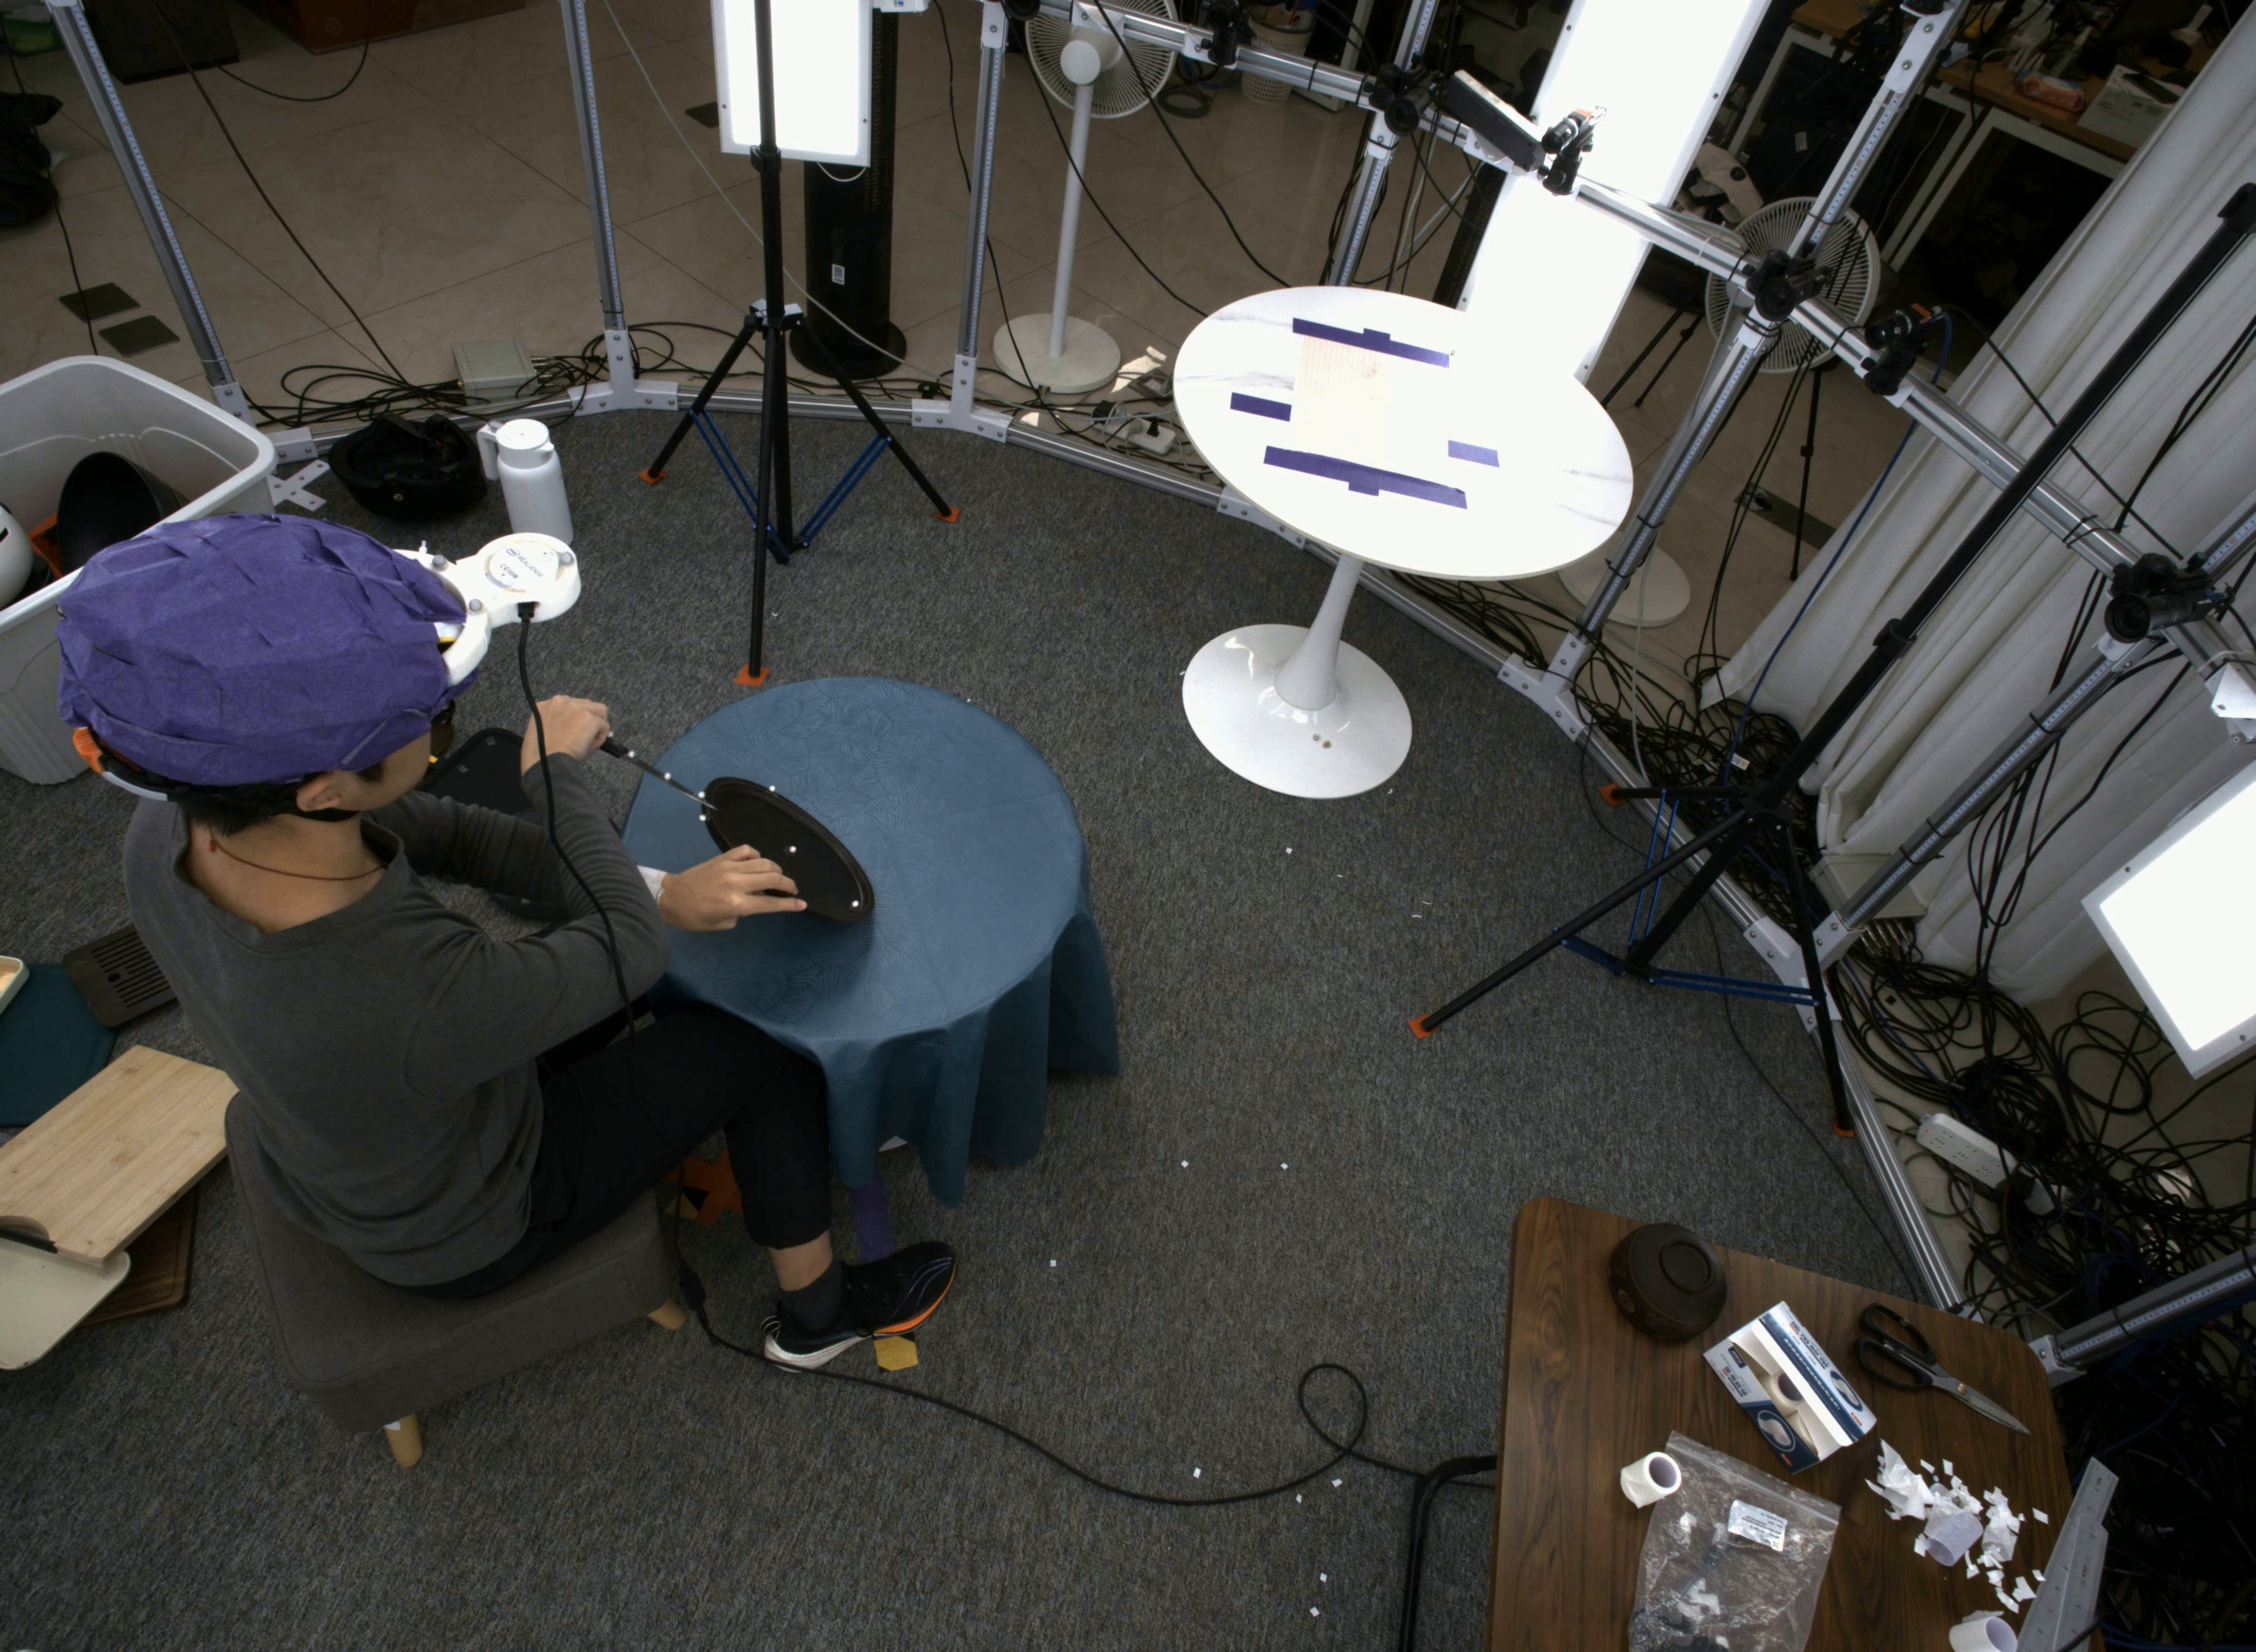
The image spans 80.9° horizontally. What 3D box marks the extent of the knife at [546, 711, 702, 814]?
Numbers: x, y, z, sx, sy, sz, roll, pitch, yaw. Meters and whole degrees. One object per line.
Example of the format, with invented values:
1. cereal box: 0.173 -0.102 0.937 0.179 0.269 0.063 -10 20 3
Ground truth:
1. knife: -0.599 -0.076 1.485 0.239 0.024 0.016 31 96 -10

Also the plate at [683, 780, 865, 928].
1. plate: -0.437 0.034 1.593 0.257 0.029 0.252 40 12 -8
